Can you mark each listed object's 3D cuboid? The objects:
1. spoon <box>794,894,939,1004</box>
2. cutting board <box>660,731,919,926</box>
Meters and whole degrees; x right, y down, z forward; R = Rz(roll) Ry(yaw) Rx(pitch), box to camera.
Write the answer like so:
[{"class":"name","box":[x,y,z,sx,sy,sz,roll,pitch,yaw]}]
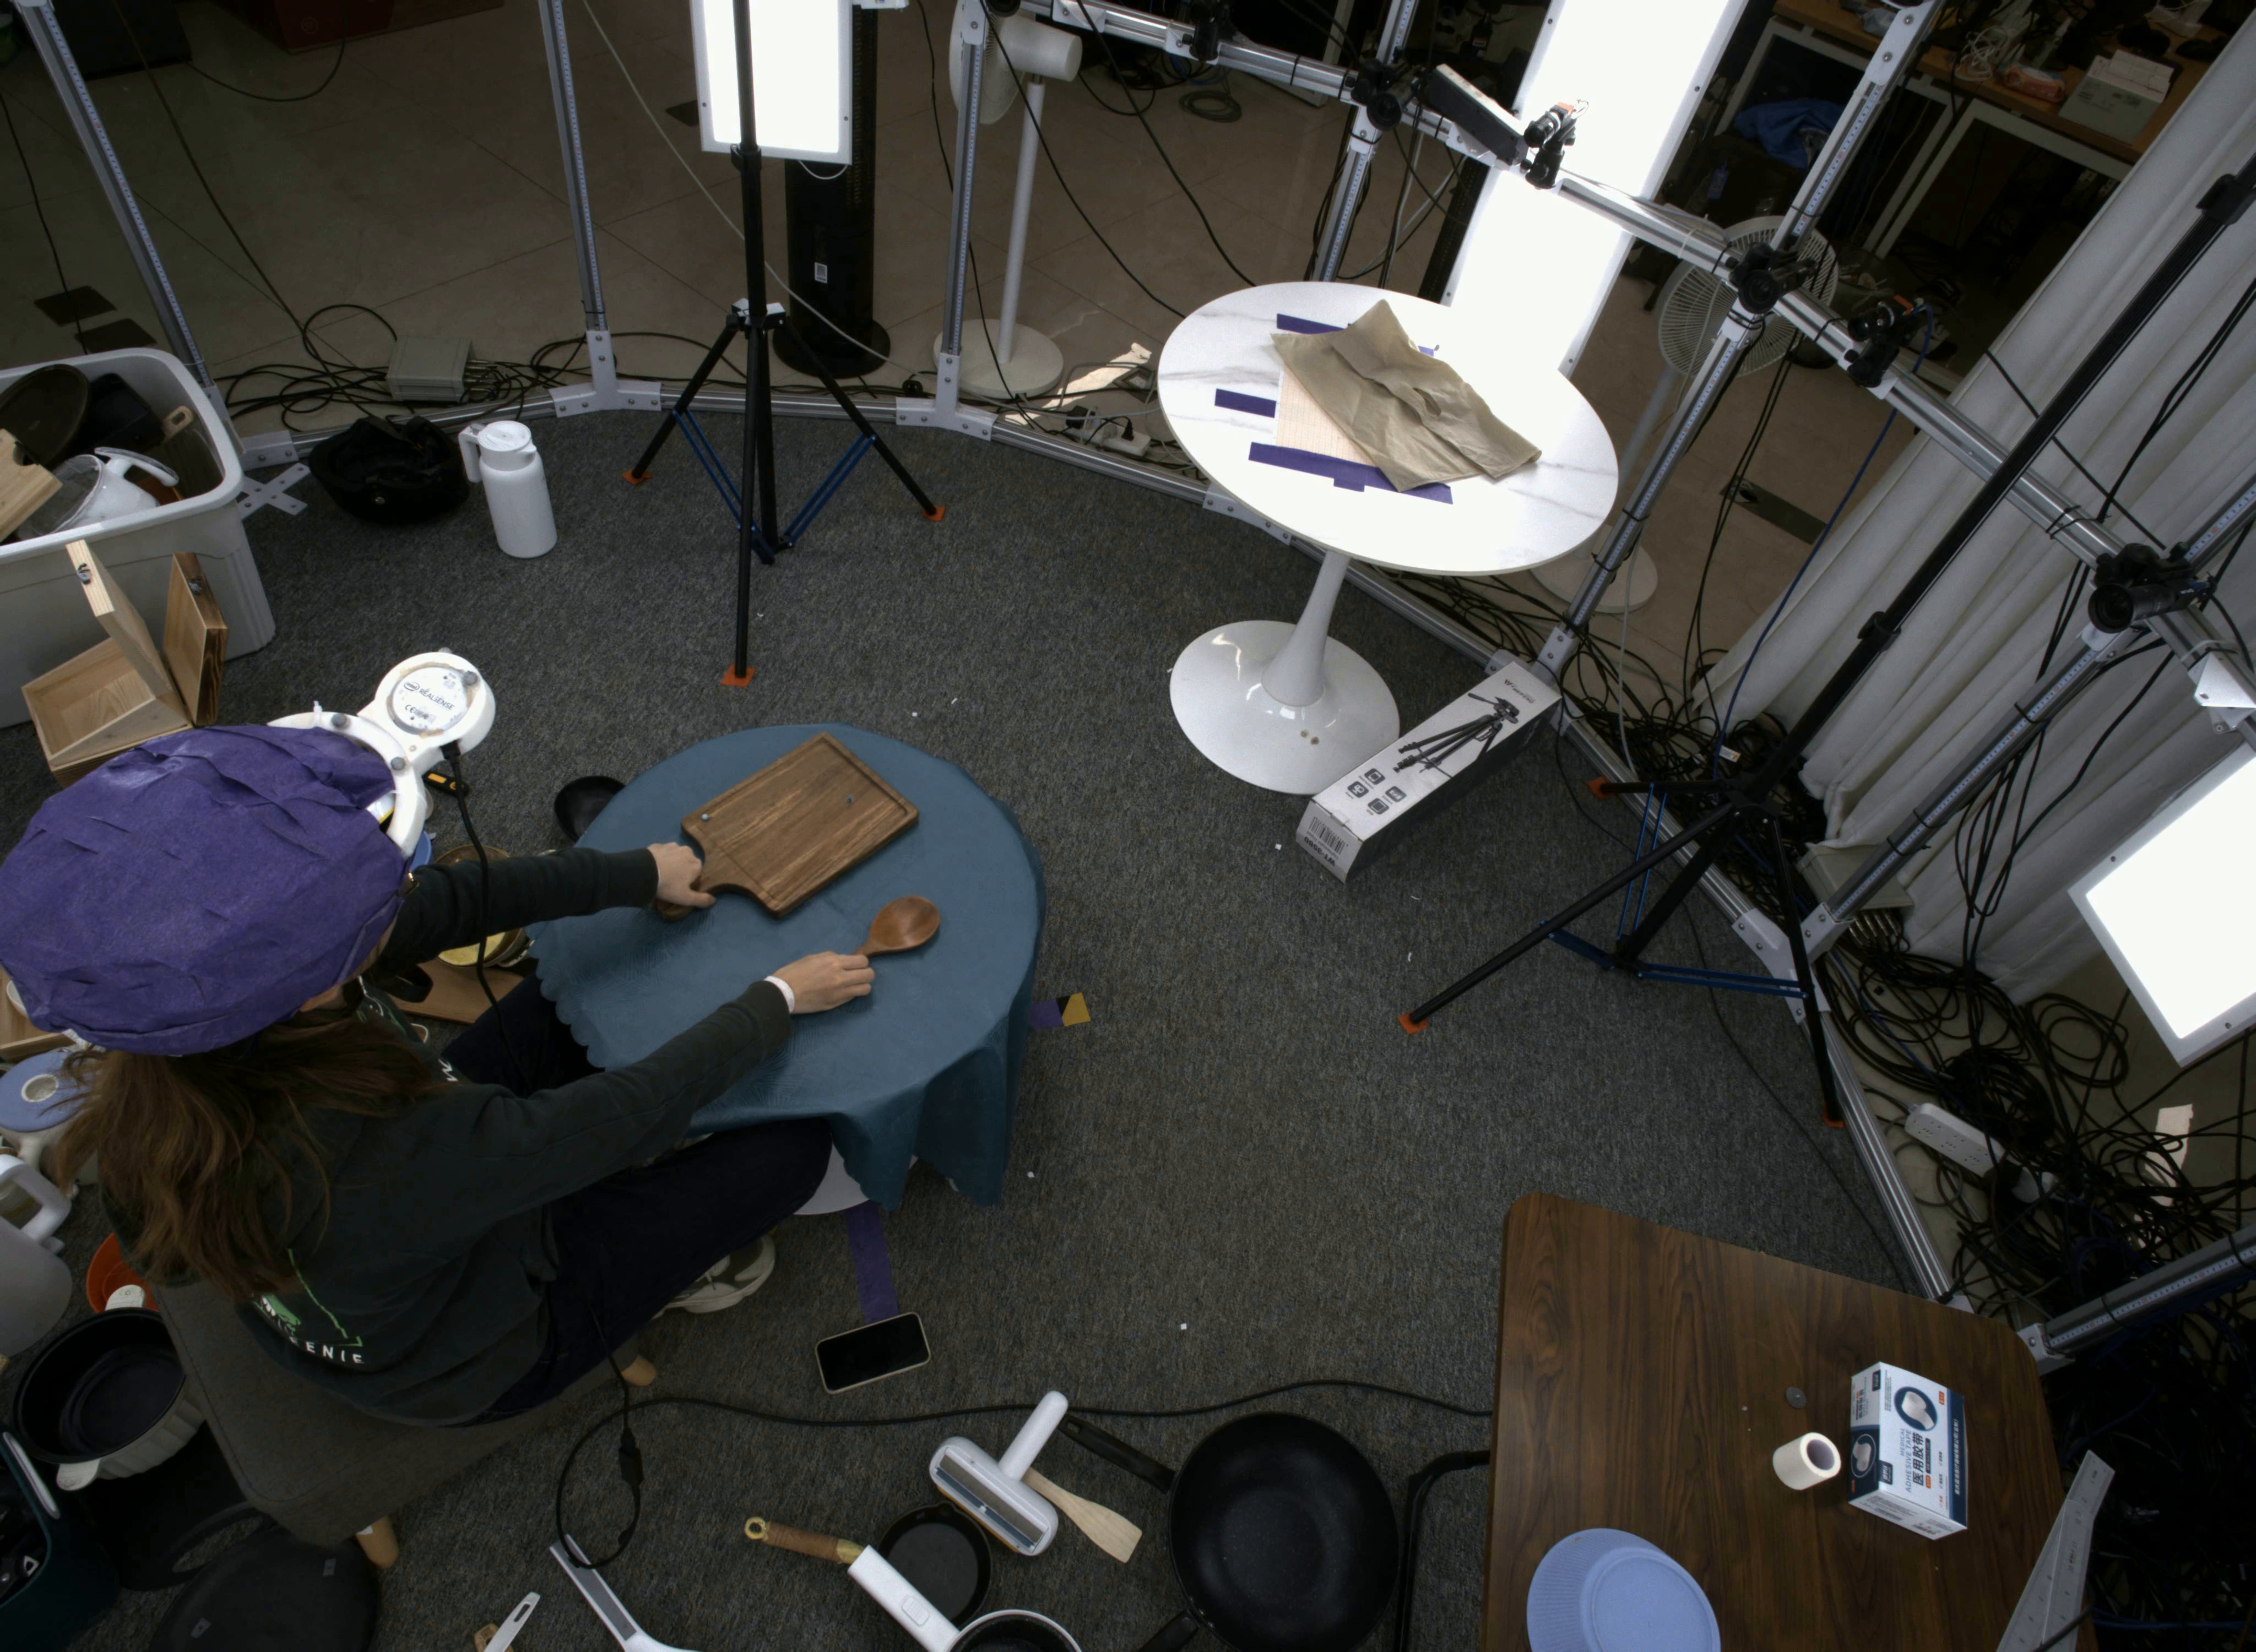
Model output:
[{"class":"spoon","box":[-0.327,0.154,1.627,0.074,0.017,0.216,44,55,16]},{"class":"cutting board","box":[-0.464,0.018,1.691,0.197,0.023,0.352,40,54,15]}]
